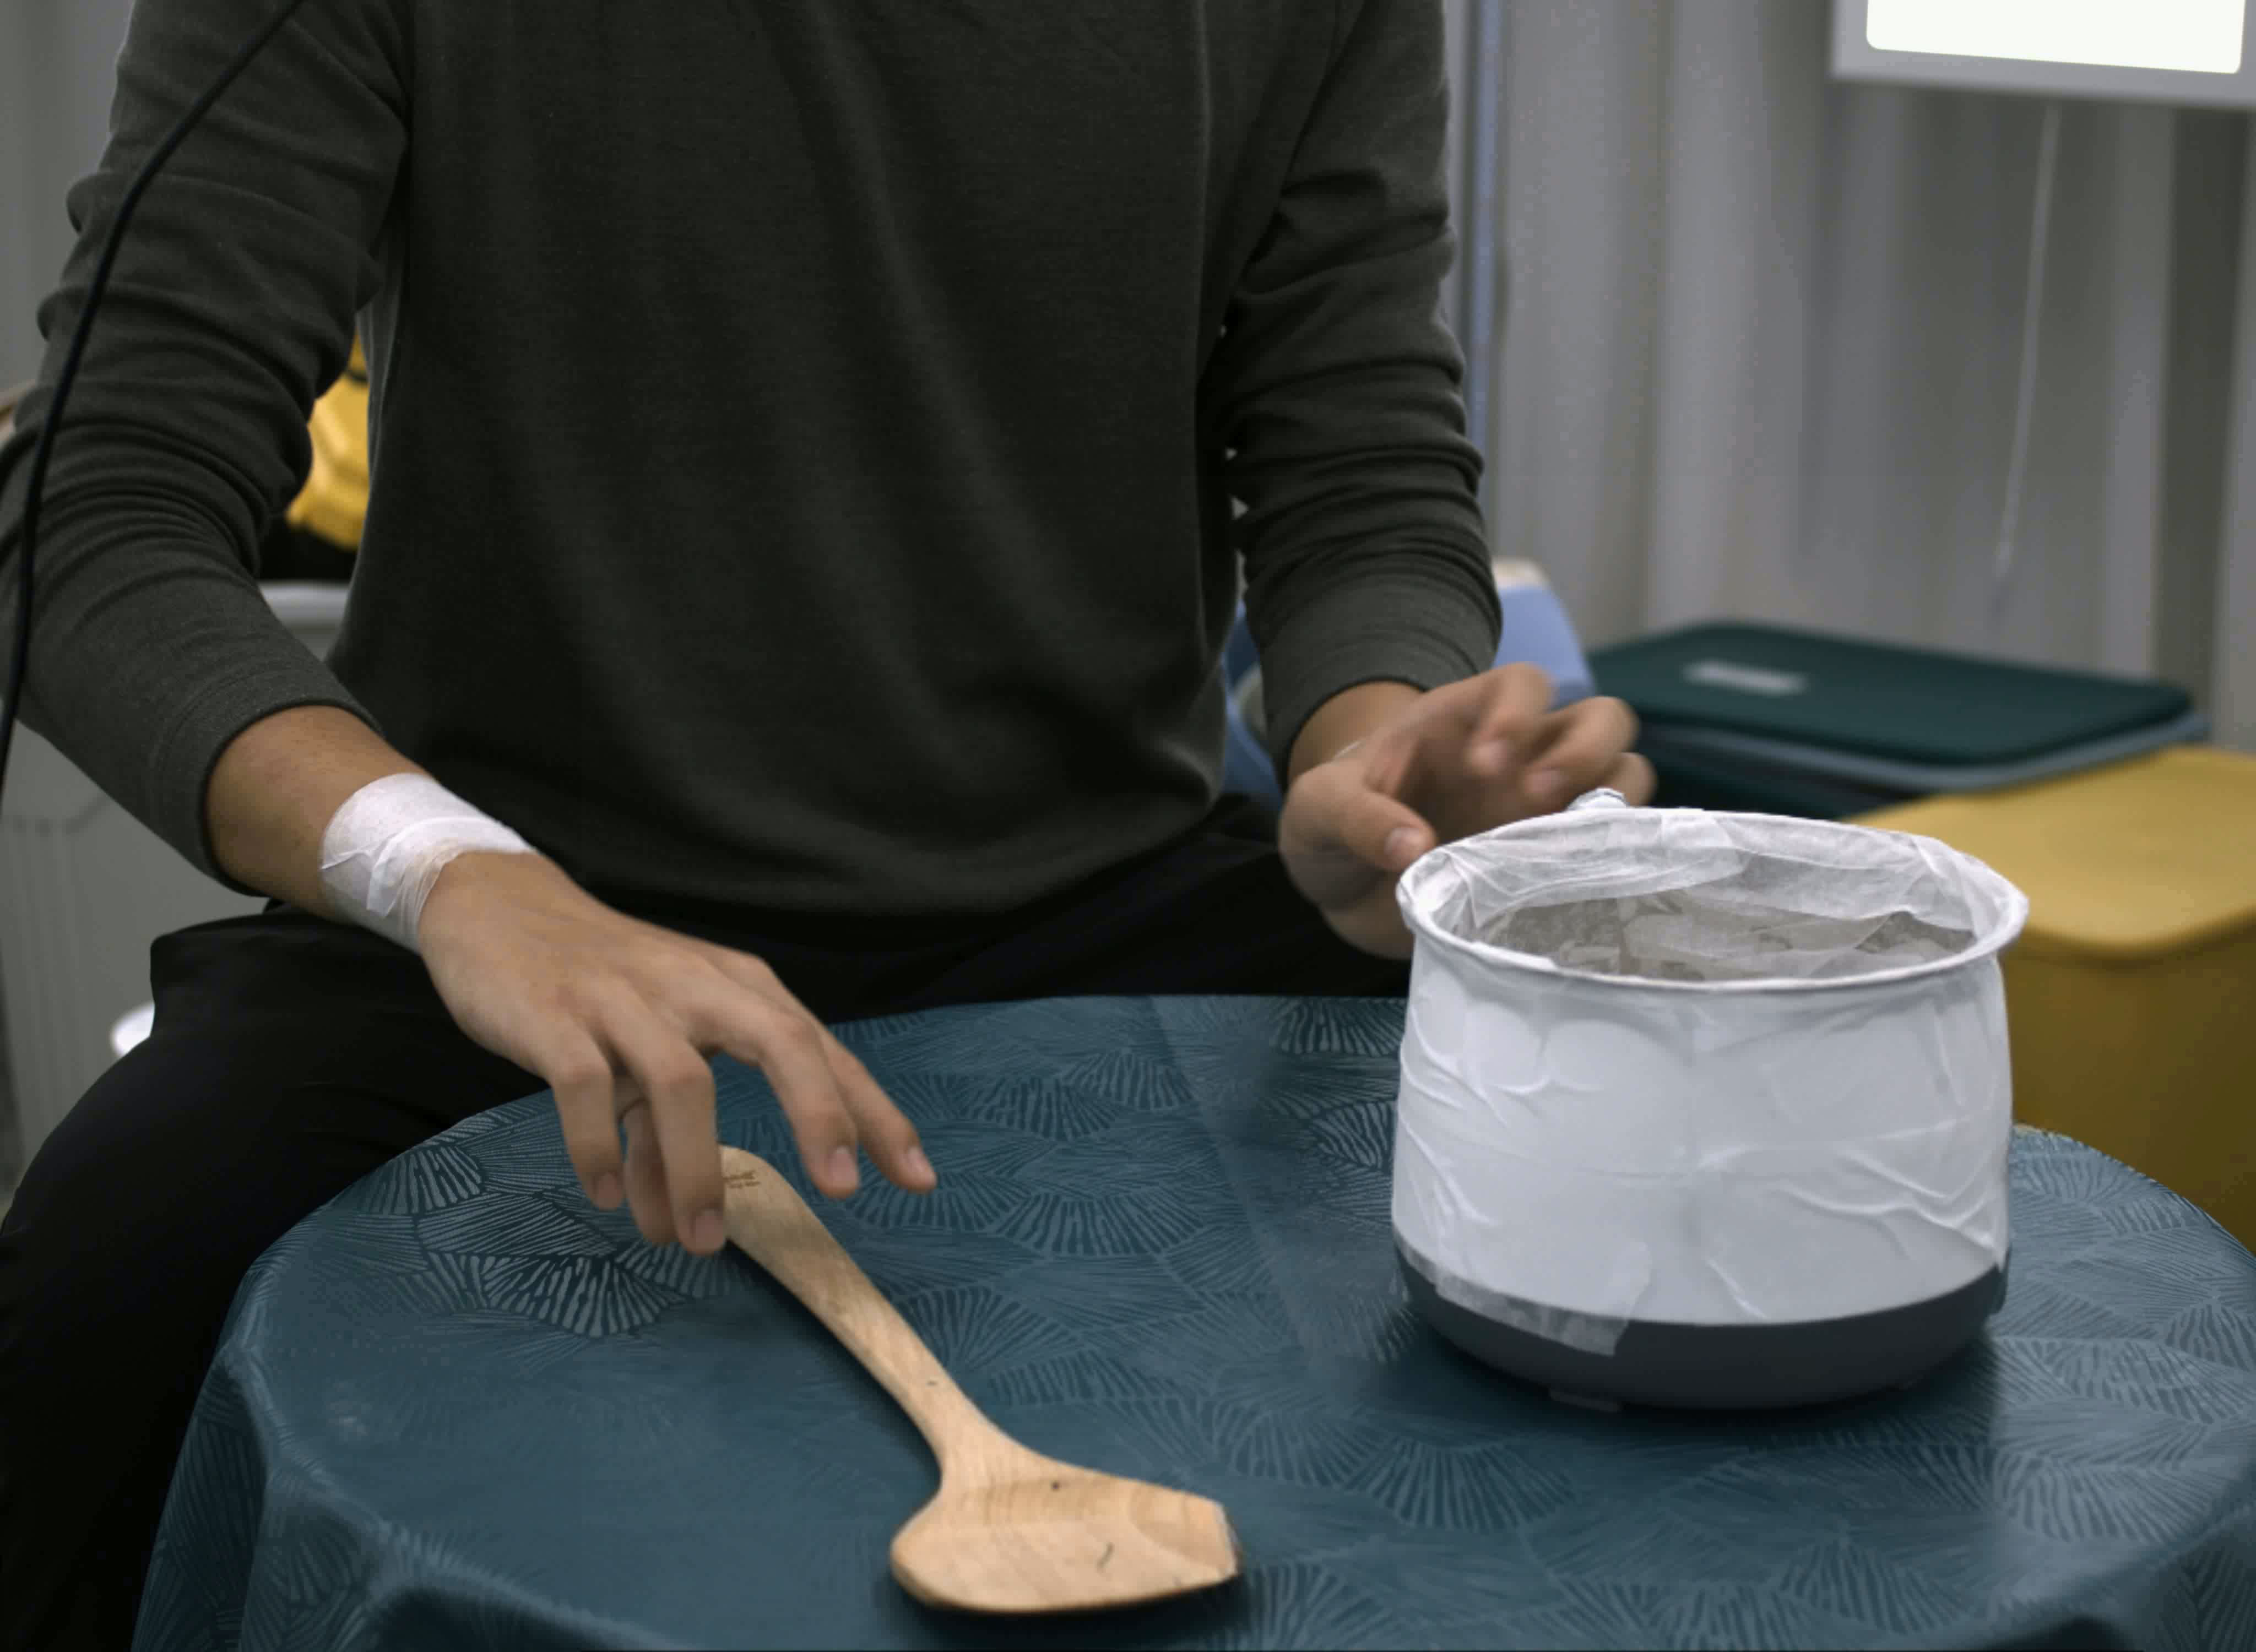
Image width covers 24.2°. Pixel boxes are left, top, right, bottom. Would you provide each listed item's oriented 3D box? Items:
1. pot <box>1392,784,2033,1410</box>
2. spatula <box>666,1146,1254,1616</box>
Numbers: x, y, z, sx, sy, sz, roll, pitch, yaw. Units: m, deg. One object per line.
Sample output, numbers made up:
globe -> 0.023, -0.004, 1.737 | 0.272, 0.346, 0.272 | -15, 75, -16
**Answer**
pot -> 0.157, 0.072, 1.517 | 0.179, 0.138, 0.231 | -3, 16, -14
spatula -> -0.072, 0.148, 1.462 | 0.096, 0.018, 0.386 | -4, 16, -20
